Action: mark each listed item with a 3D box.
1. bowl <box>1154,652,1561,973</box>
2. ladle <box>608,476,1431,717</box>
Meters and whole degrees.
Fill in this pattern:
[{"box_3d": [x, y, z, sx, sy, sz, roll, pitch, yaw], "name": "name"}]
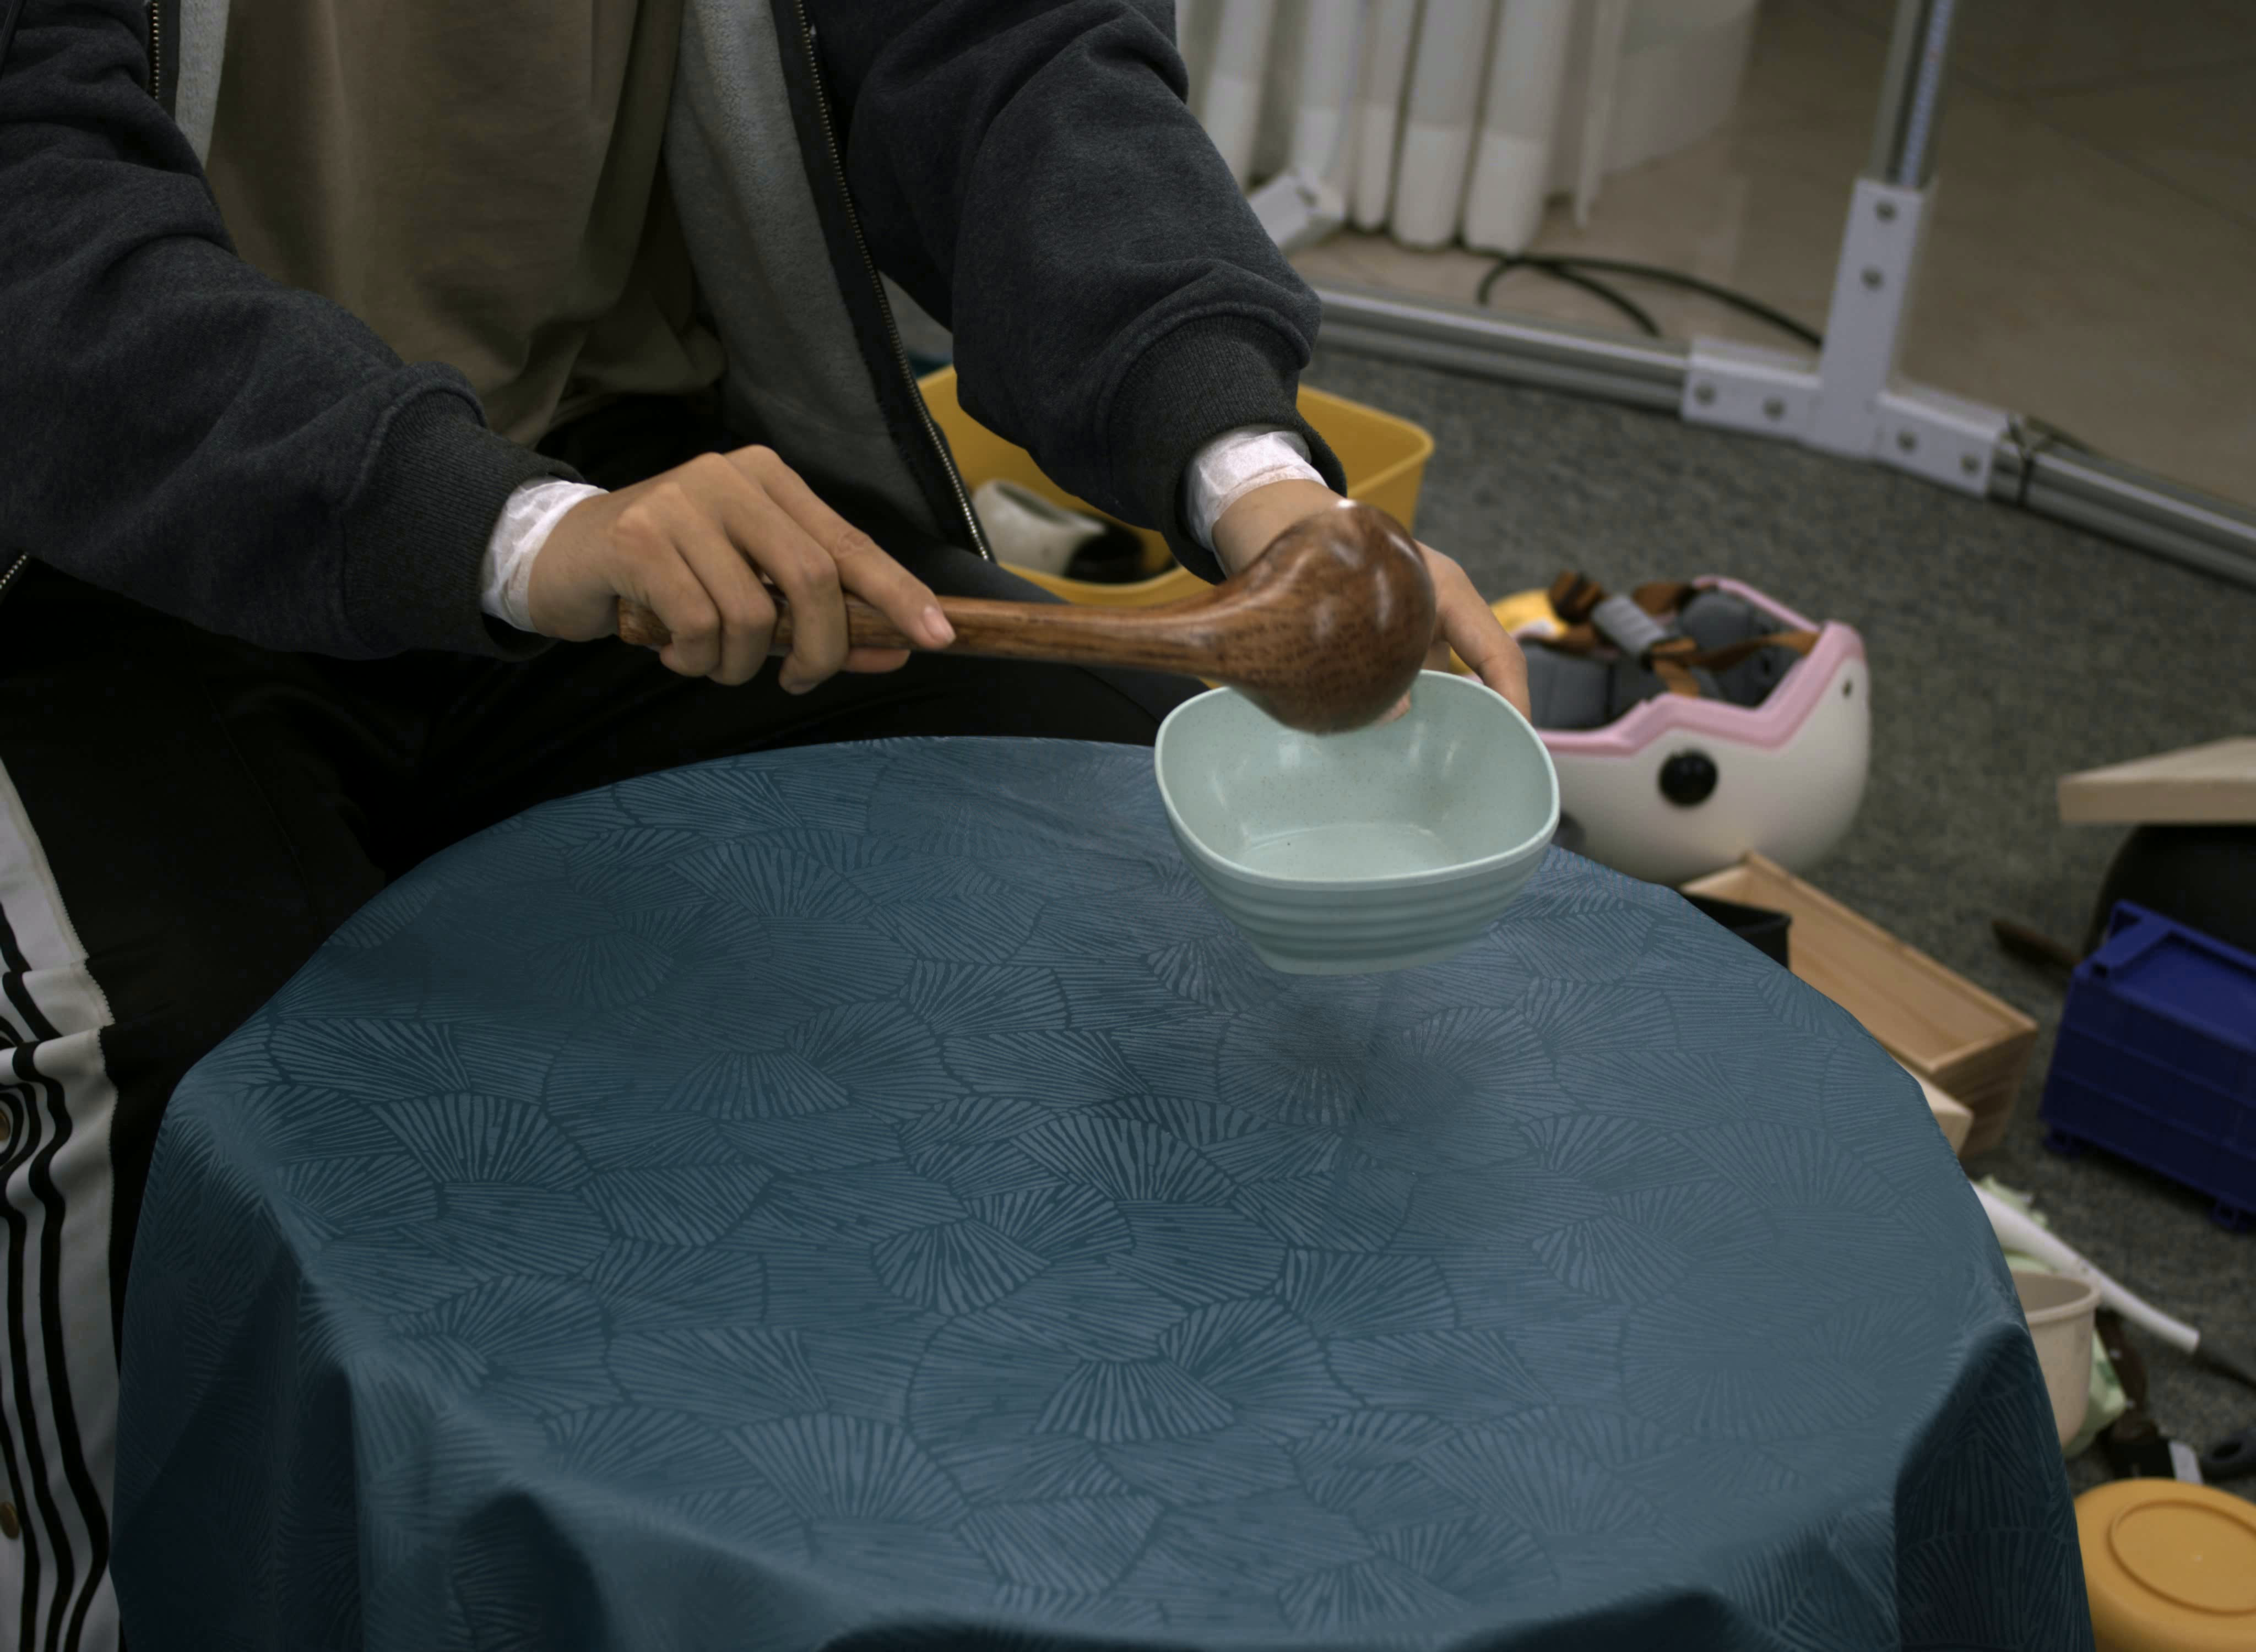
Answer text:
[{"box_3d": [0.079, 0.002, 1.860, 0.151, 0.058, 0.152, 0, 36, 0], "name": "bowl"}, {"box_3d": [-0.035, -0.078, 1.802, 0.274, 0.082, 0.077, 1, 17, 8], "name": "ladle"}]
